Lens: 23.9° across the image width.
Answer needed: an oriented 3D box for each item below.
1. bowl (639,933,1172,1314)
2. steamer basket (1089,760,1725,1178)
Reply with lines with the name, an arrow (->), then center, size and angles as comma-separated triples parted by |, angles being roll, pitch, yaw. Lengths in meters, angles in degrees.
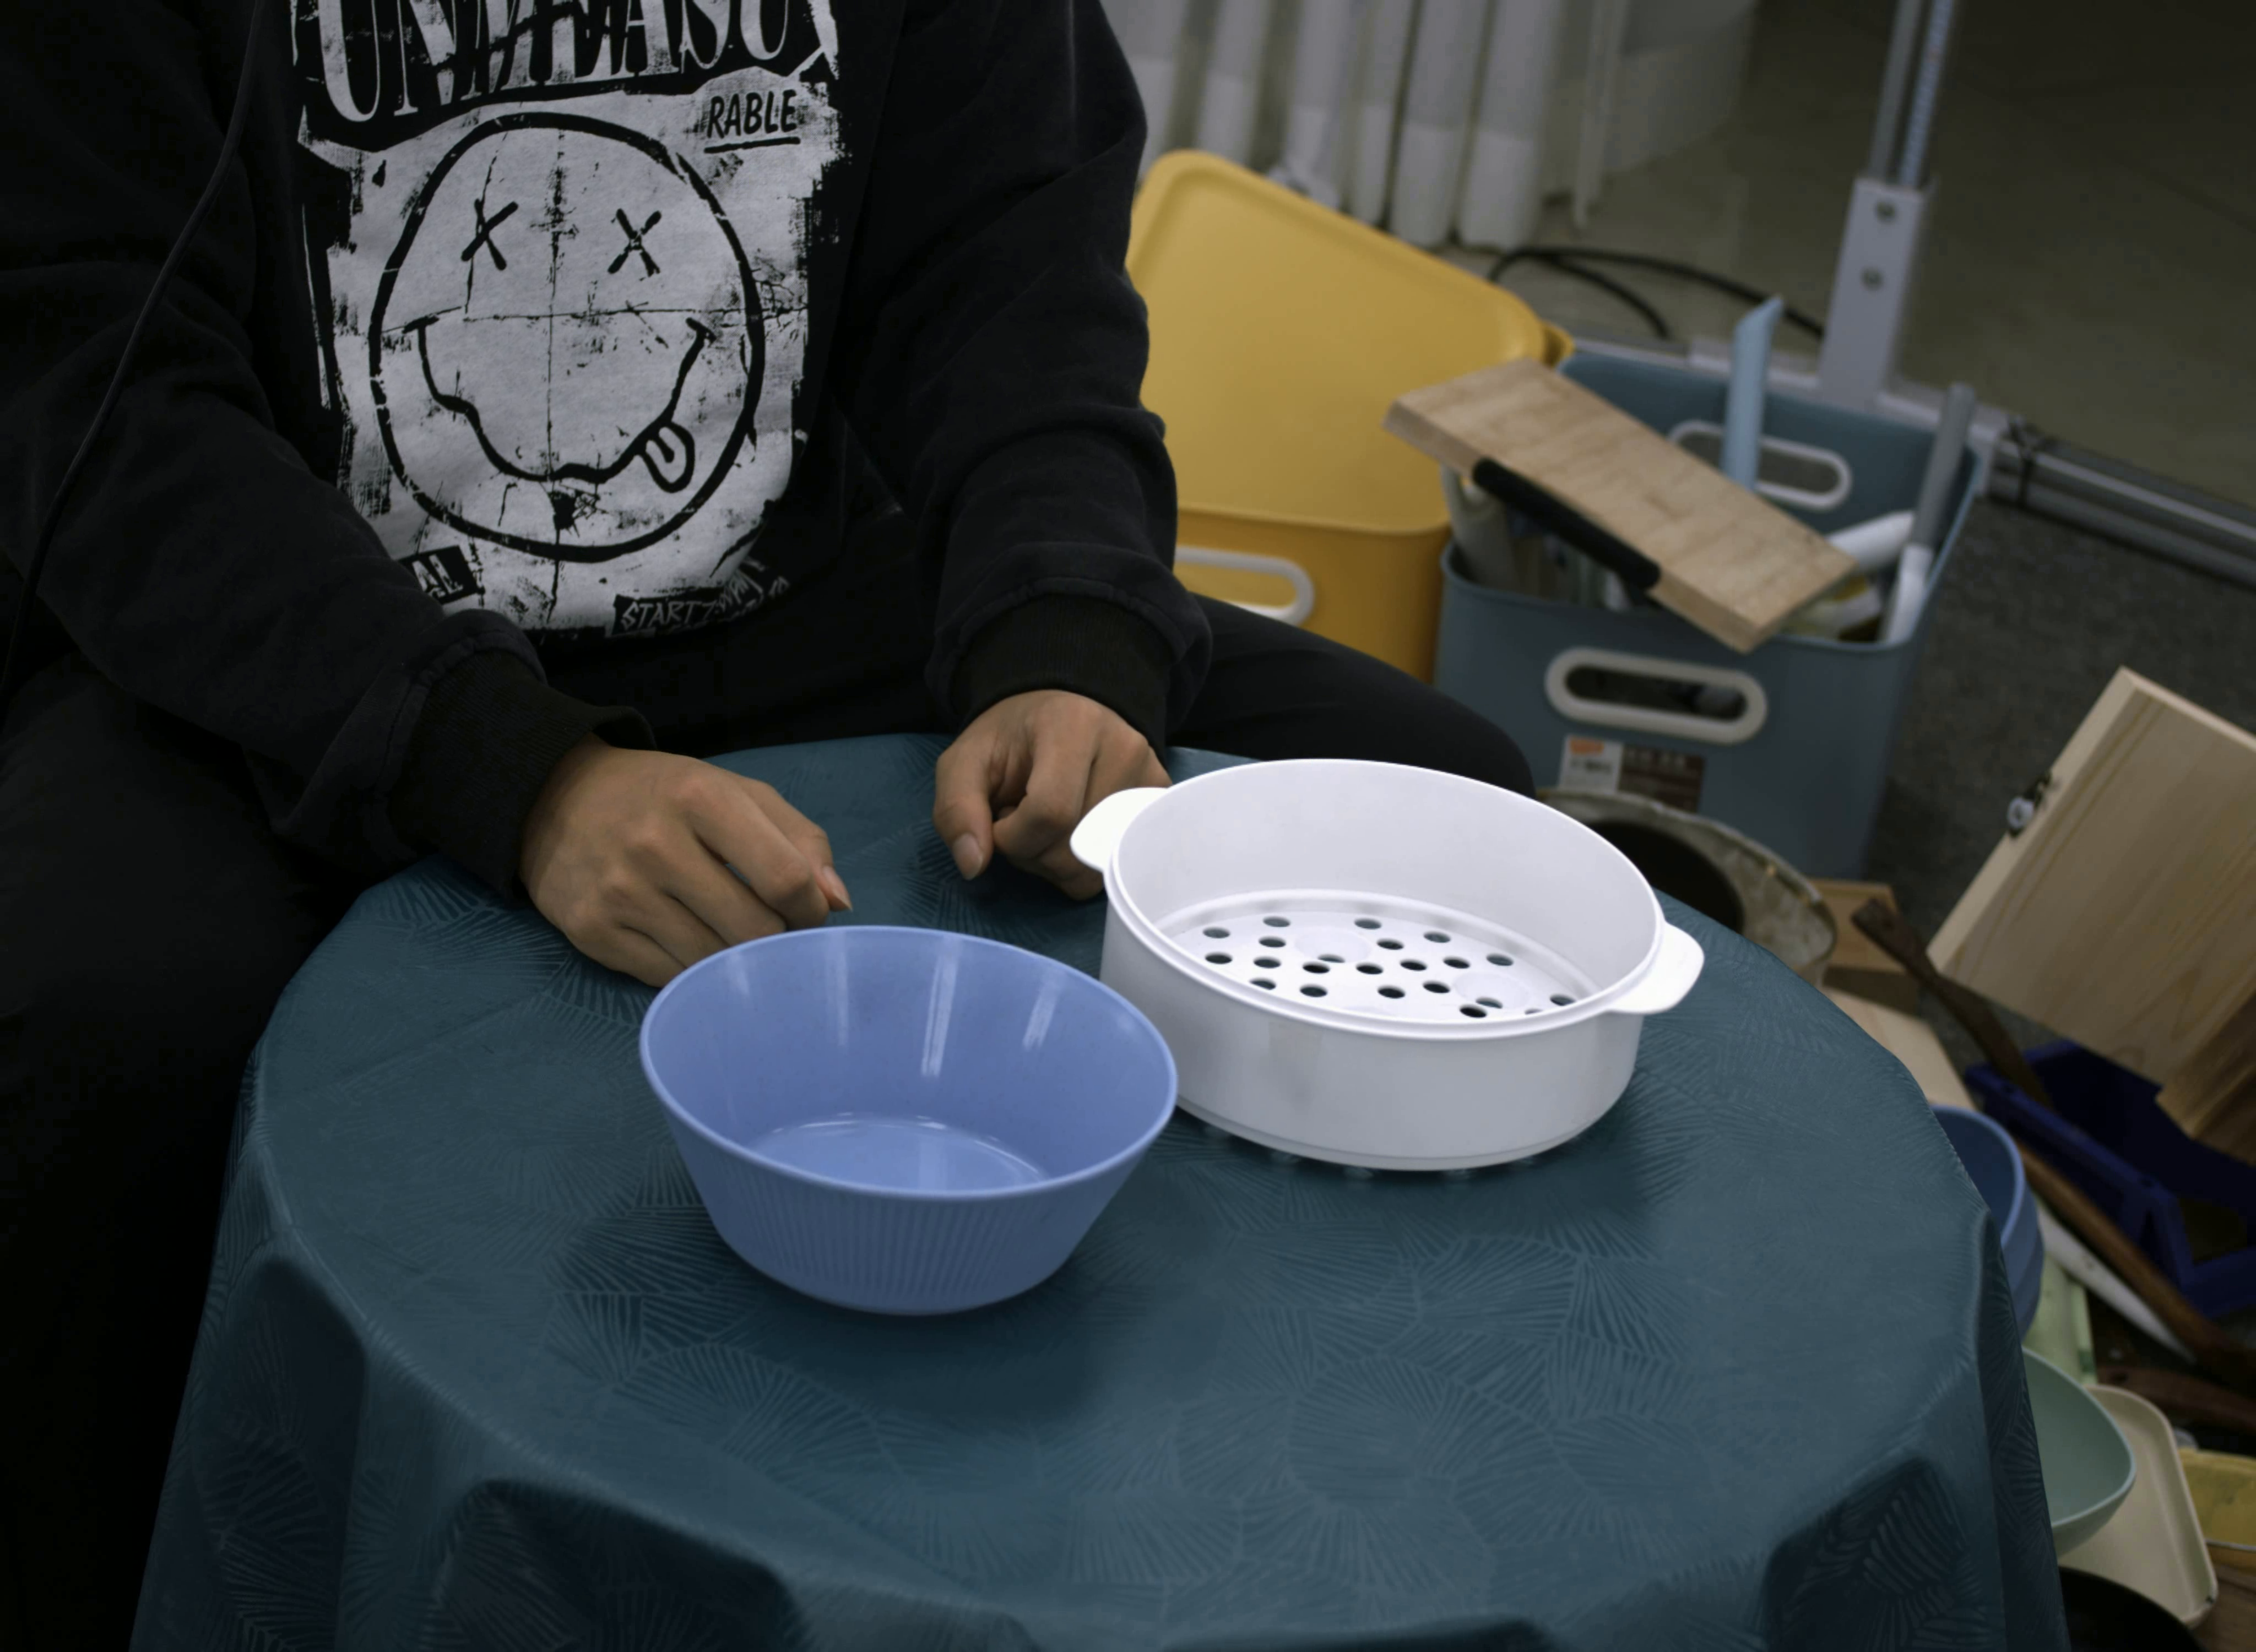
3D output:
bowl -> -0.076, 0.103, 1.745 | 0.175, 0.070, 0.177 | 6, 26, -3
steamer basket -> 0.094, 0.051, 1.889 | 0.231, 0.069, 0.202 | 17, 28, 15
